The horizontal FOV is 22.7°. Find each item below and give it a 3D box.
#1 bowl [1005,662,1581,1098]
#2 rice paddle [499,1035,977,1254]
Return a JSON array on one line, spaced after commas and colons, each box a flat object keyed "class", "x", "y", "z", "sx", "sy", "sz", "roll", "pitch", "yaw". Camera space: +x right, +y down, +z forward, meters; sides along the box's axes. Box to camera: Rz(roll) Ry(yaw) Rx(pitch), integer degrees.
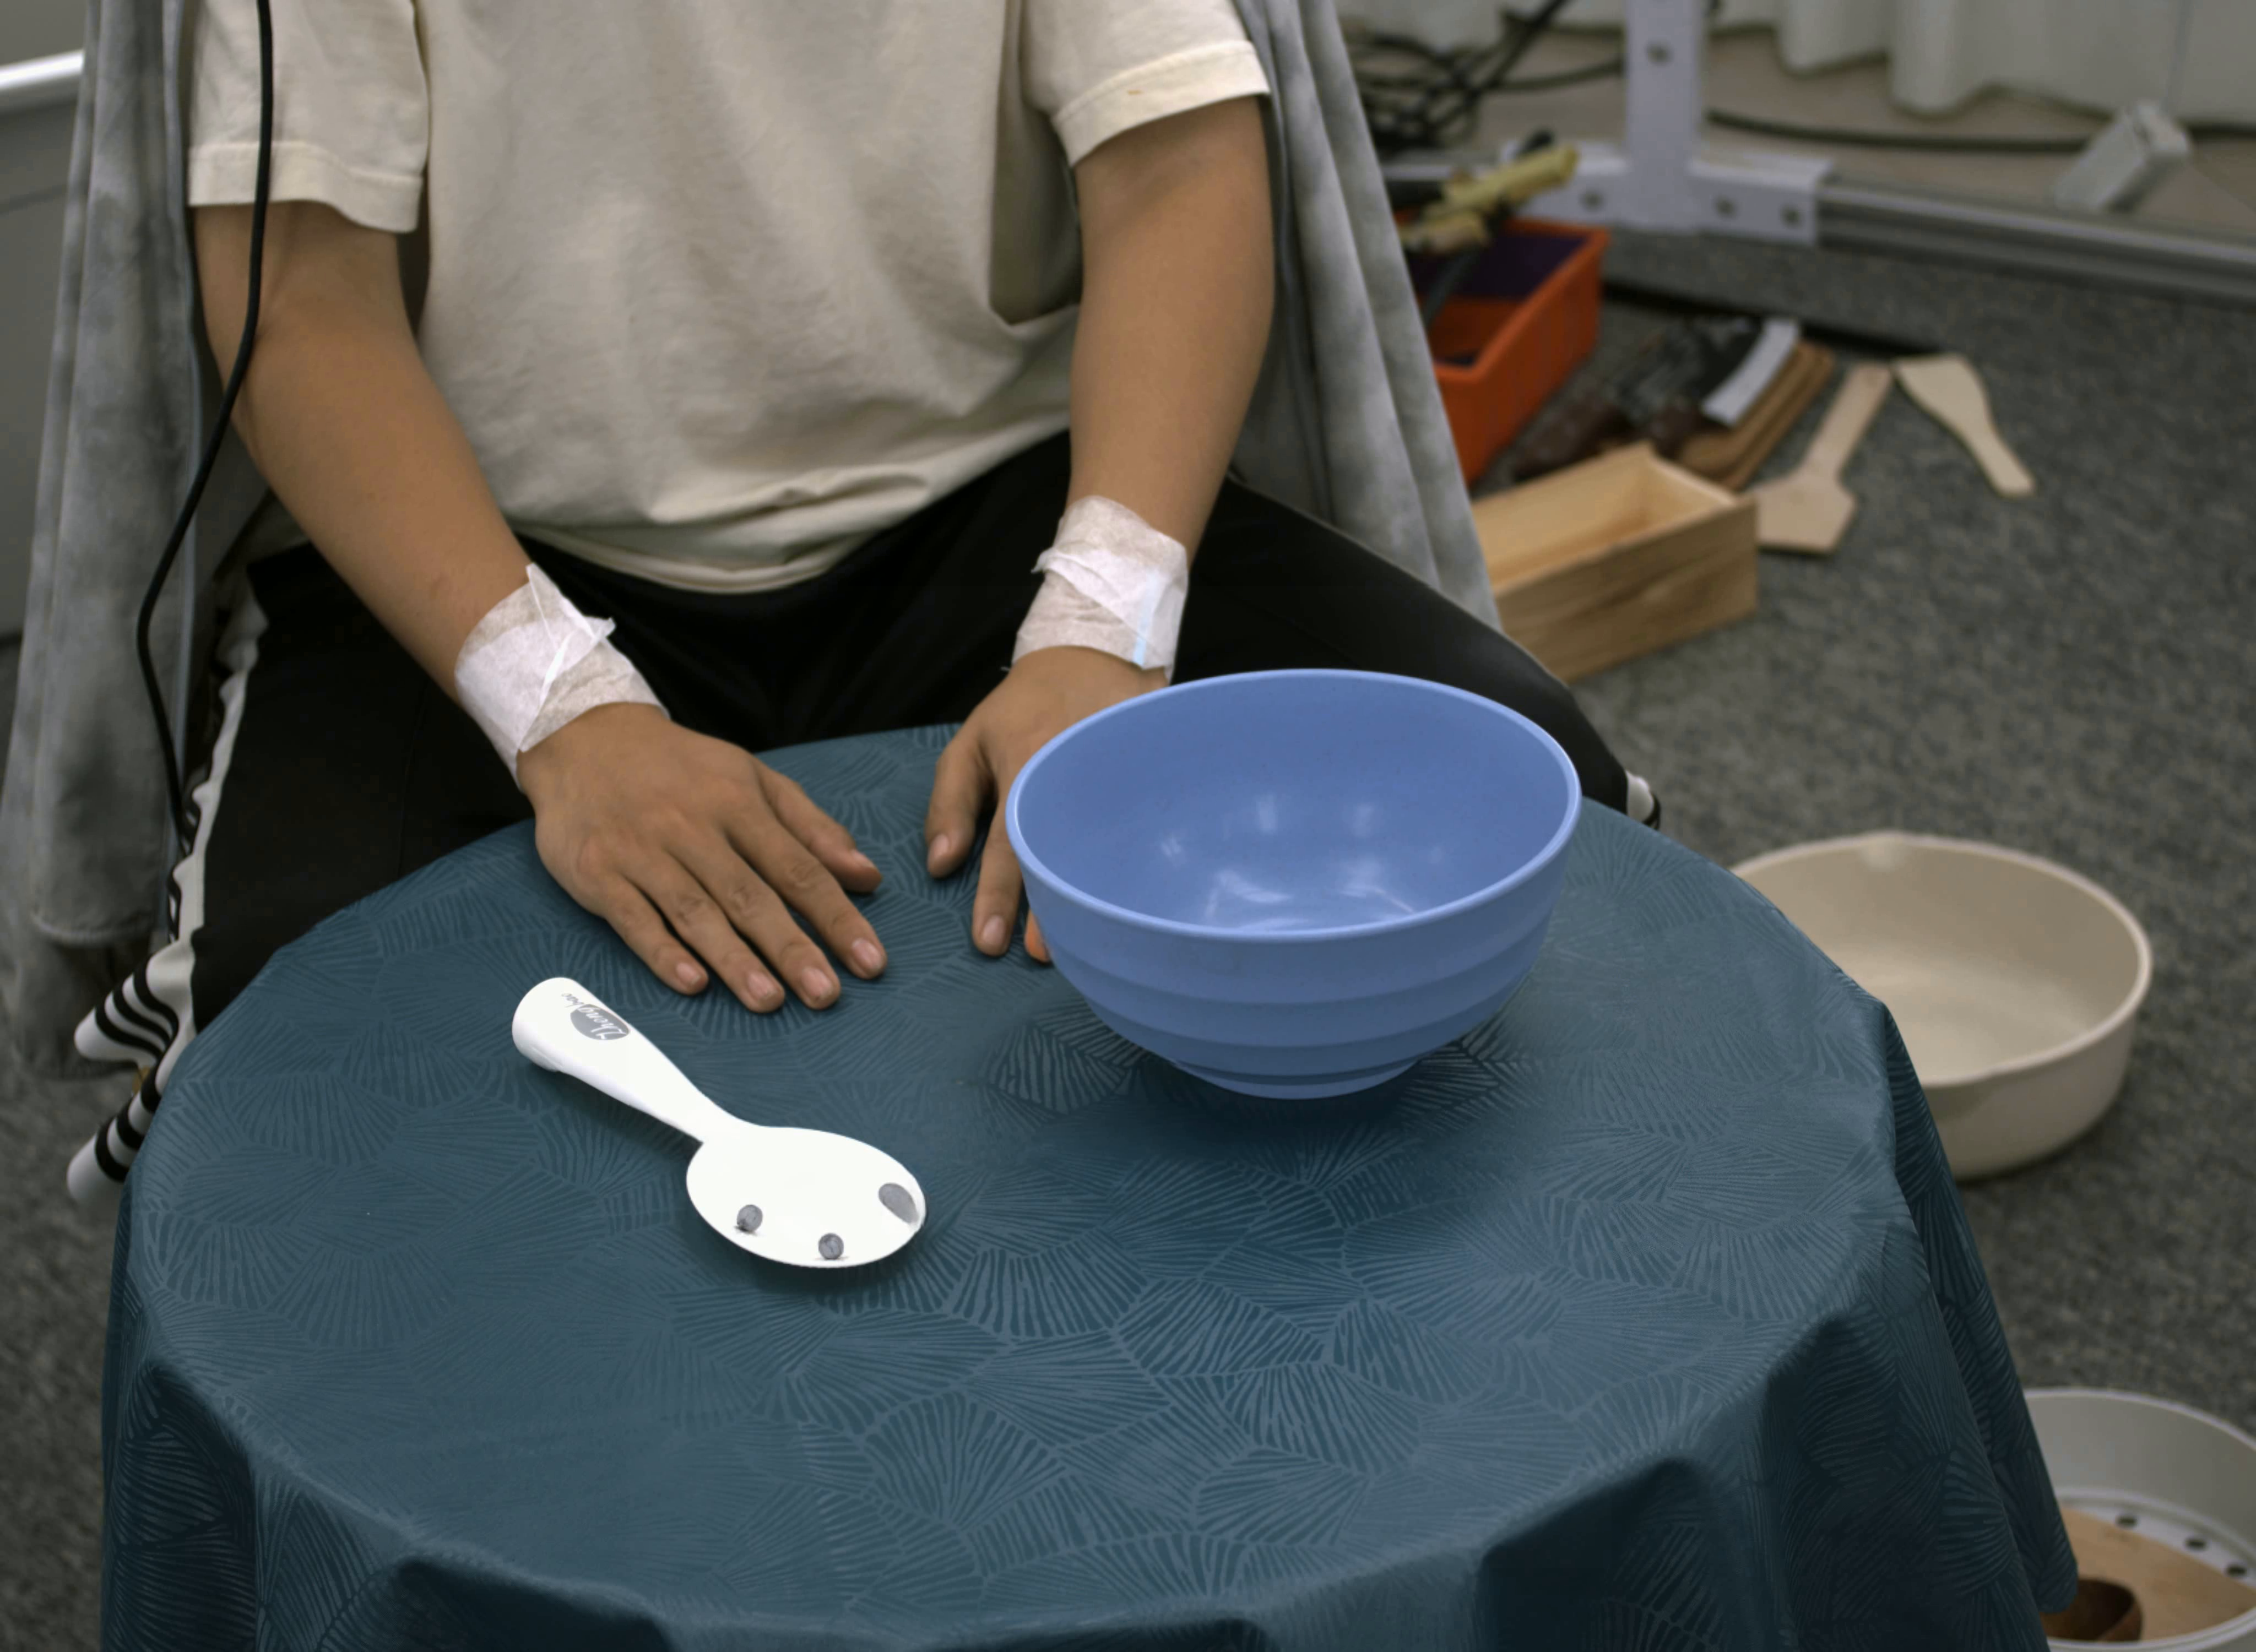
[{"class": "bowl", "x": 0.058, "y": 0.029, "z": 1.928, "sx": 0.195, "sy": 0.094, "sz": 0.199, "roll": -3, "pitch": 29, "yaw": 2}, {"class": "rice paddle", "x": -0.131, "y": 0.109, "z": 1.875, "sx": 0.204, "sy": 0.029, "sz": 0.069, "roll": 17, "pitch": 20, "yaw": 40}]
